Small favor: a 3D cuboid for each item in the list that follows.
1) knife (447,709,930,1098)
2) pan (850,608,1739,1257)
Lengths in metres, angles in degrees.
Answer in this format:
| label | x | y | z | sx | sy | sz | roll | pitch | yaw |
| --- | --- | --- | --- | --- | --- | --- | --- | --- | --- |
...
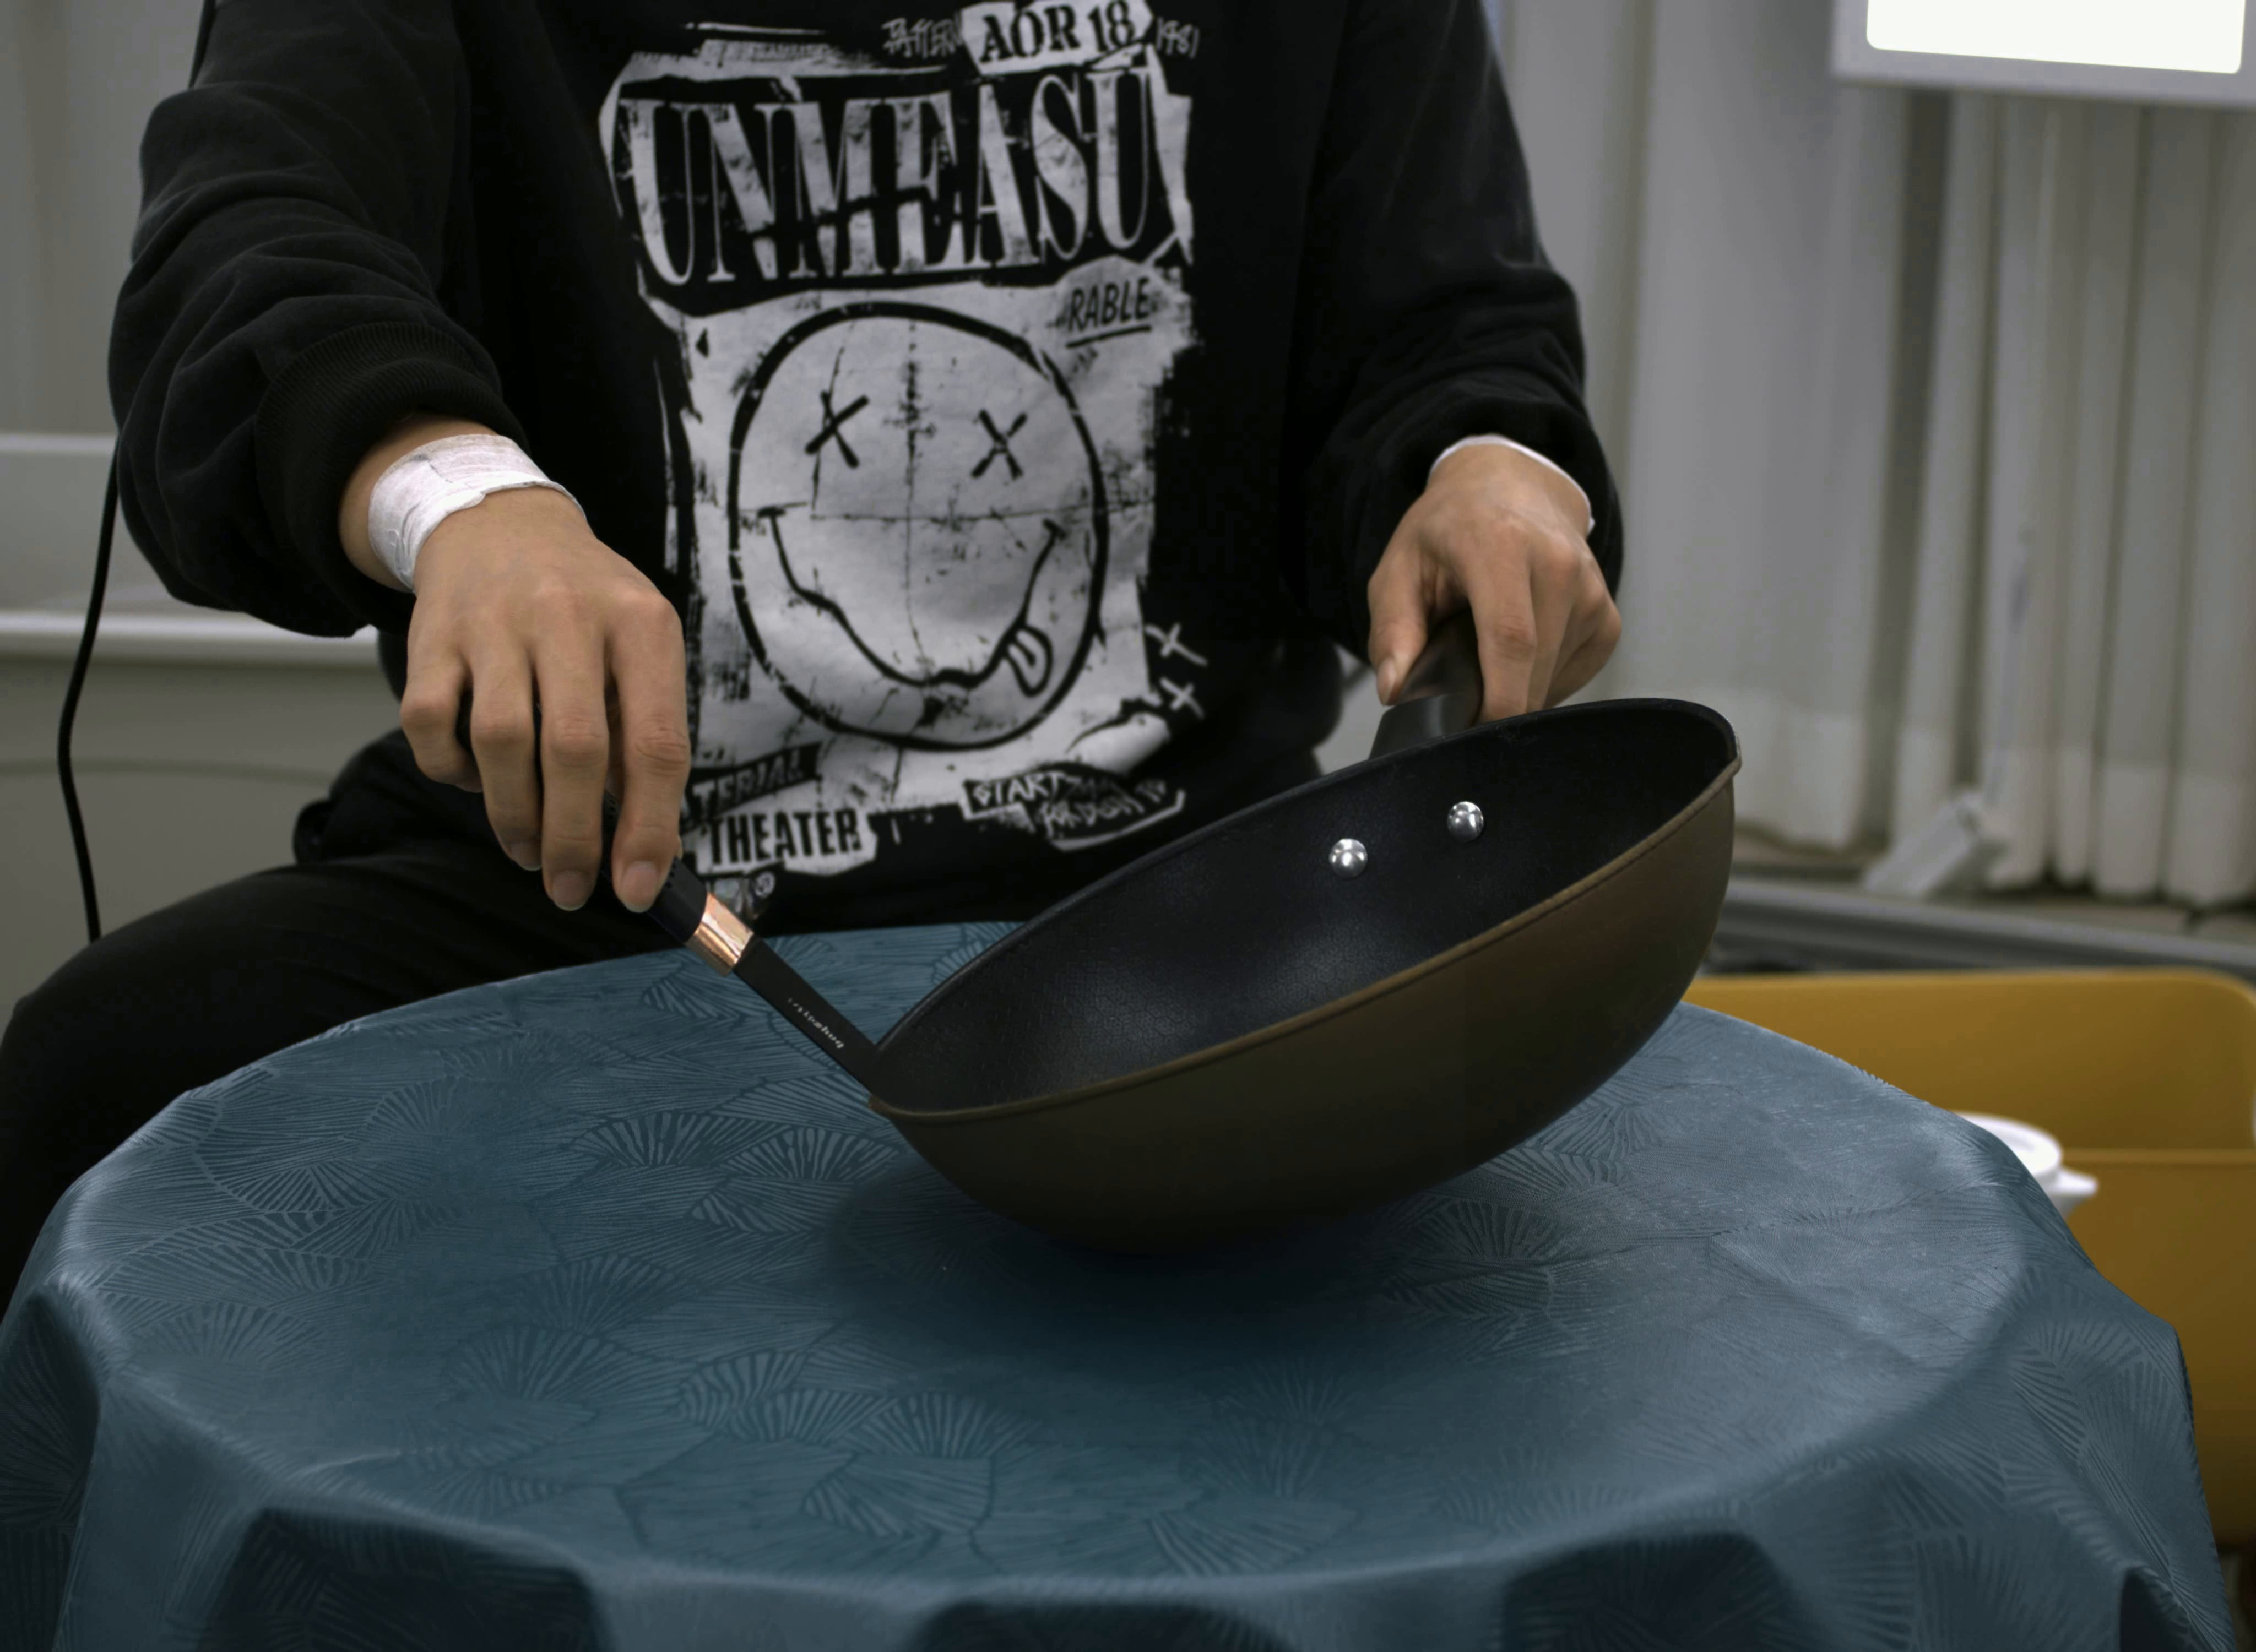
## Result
| label | x | y | z | sx | sy | sz | roll | pitch | yaw |
| --- | --- | --- | --- | --- | --- | --- | --- | --- | --- |
| knife | -0.111 | 0.040 | 1.553 | 0.225 | 0.017 | 0.026 | 40 | 15 | -2 |
| pan | 0.085 | 0.030 | 1.658 | 0.286 | 0.087 | 0.462 | -19 | 12 | 20 |
